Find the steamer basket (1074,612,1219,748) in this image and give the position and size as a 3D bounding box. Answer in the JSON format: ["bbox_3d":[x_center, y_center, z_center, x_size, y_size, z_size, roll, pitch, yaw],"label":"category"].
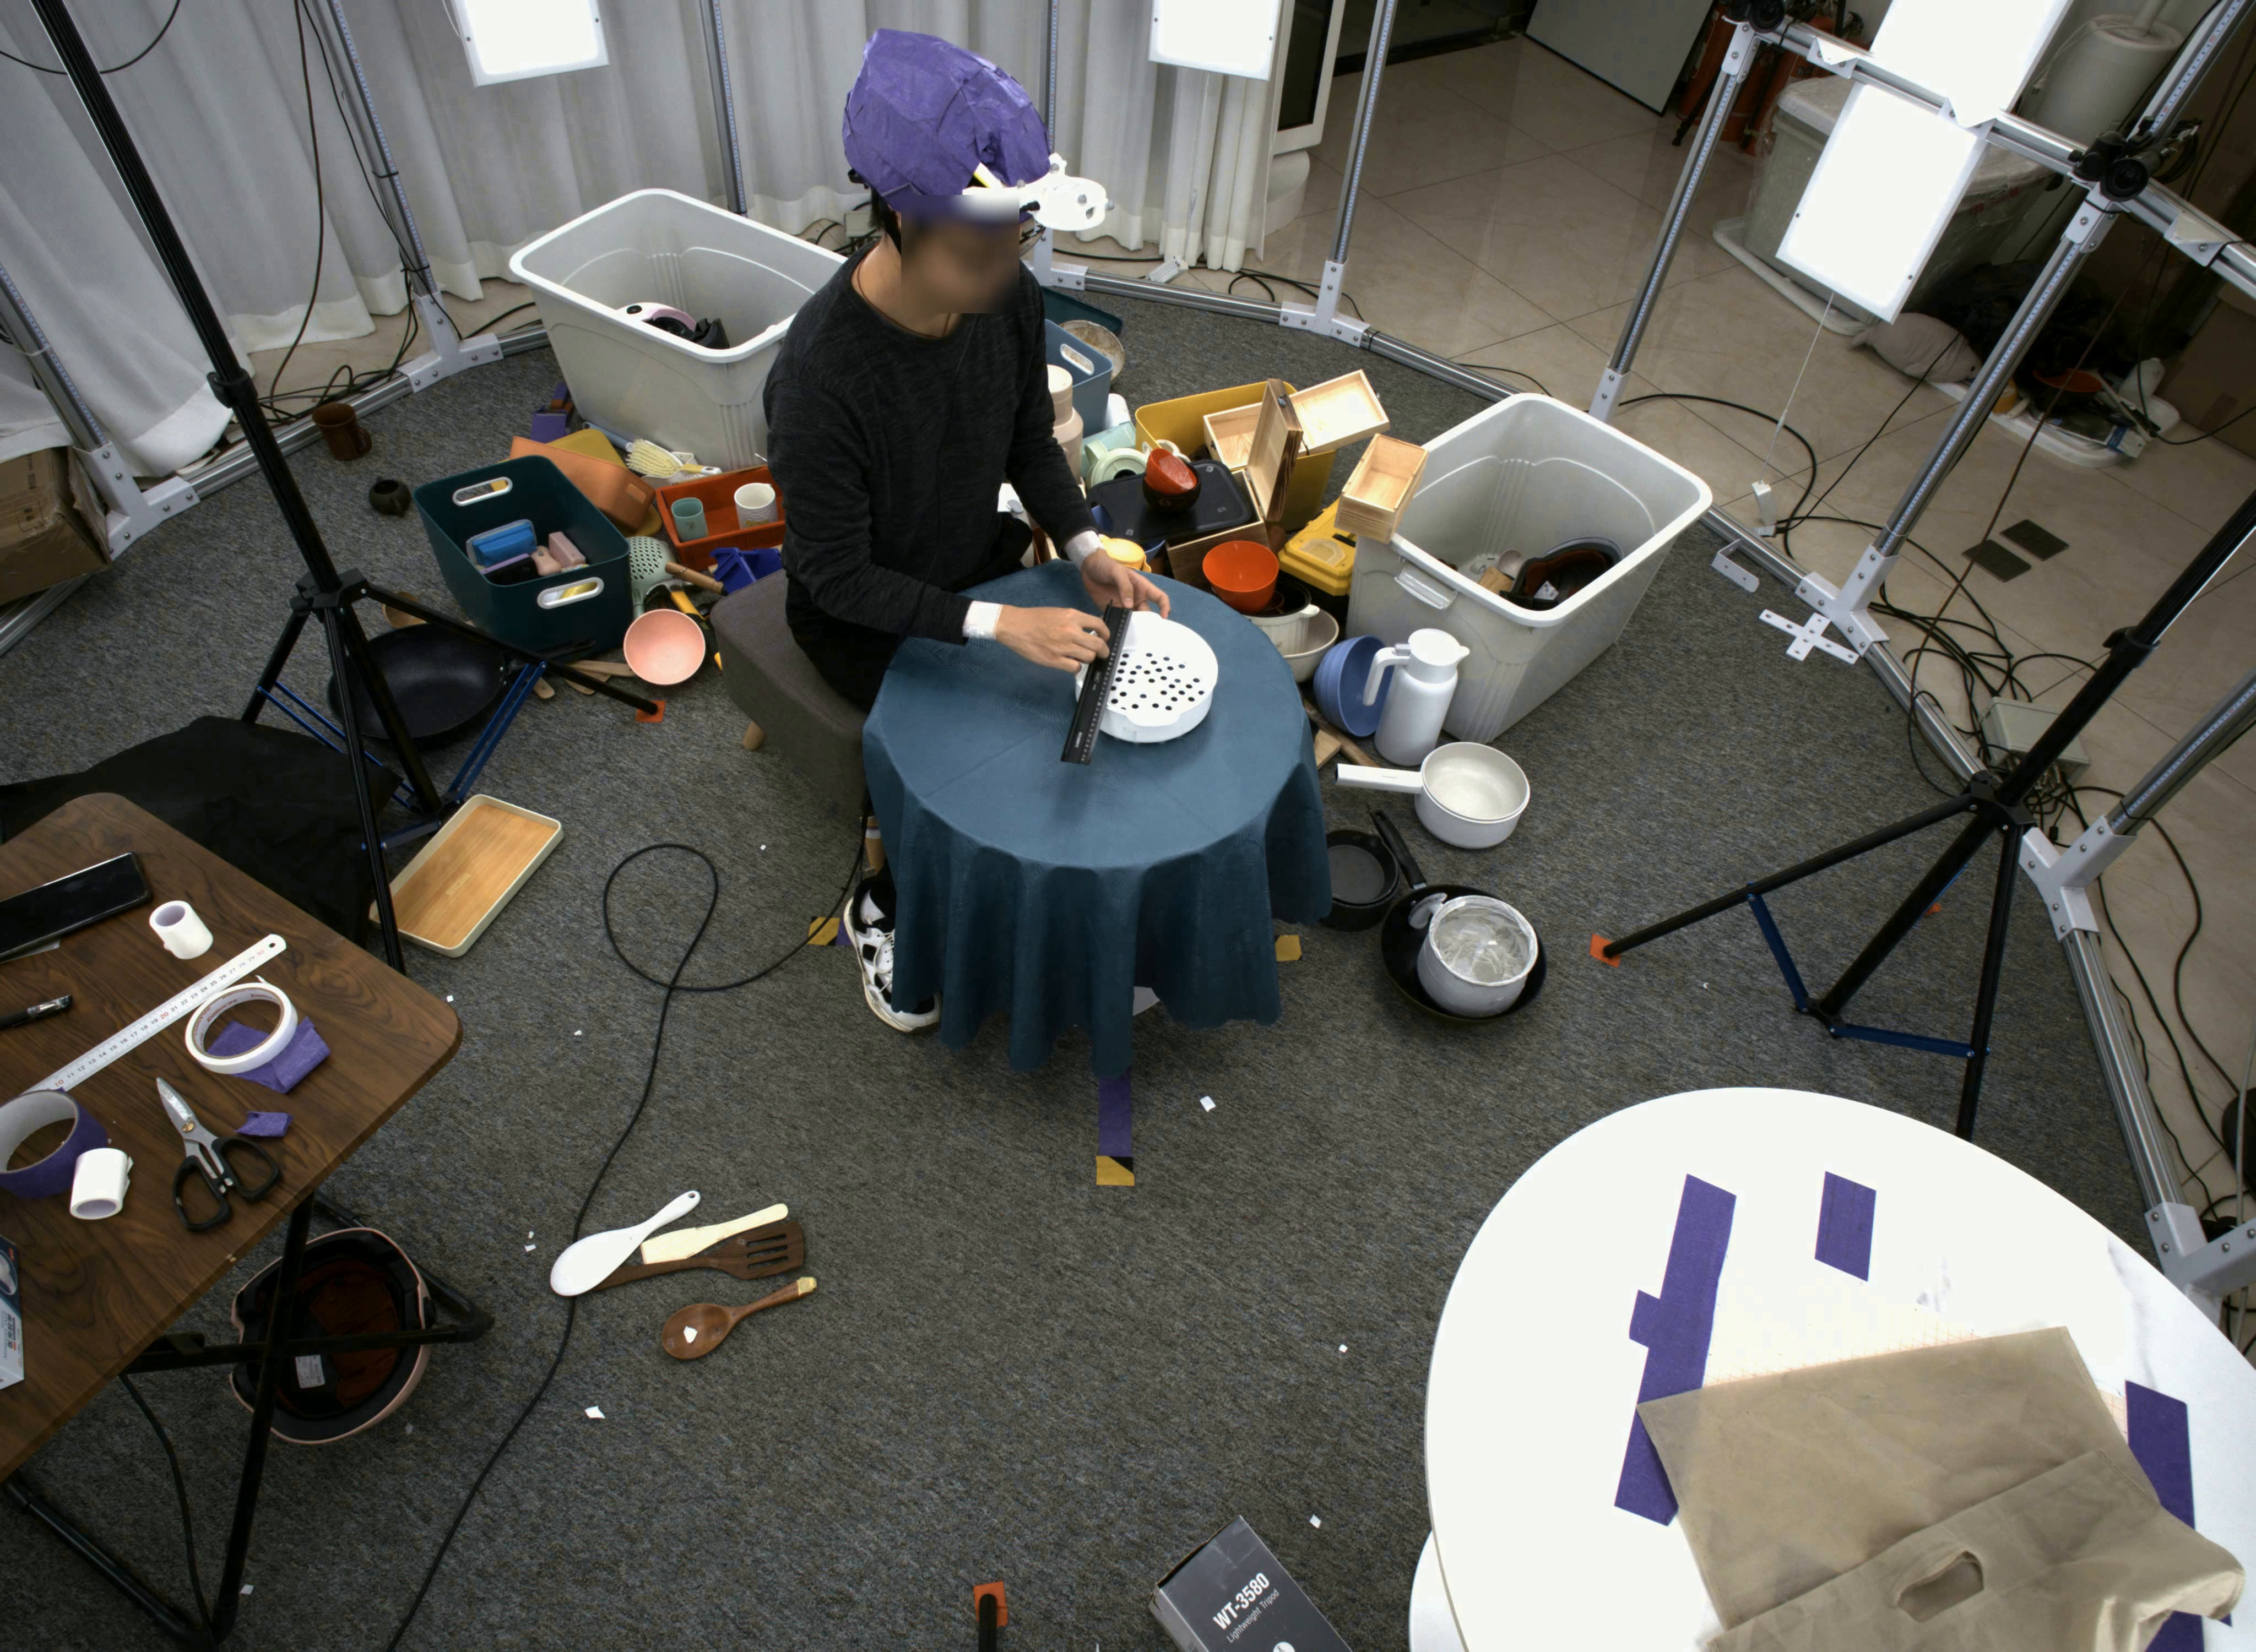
[{"bbox_3d":[0.024,-0.201,1.801,0.201,0.067,0.236,-3,51,-5],"label":"steamer basket"}]

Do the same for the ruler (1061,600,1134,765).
[{"bbox_3d":[-0.039,-0.202,1.746,0.039,0.017,0.320,10,49,5],"label":"ruler"}]
